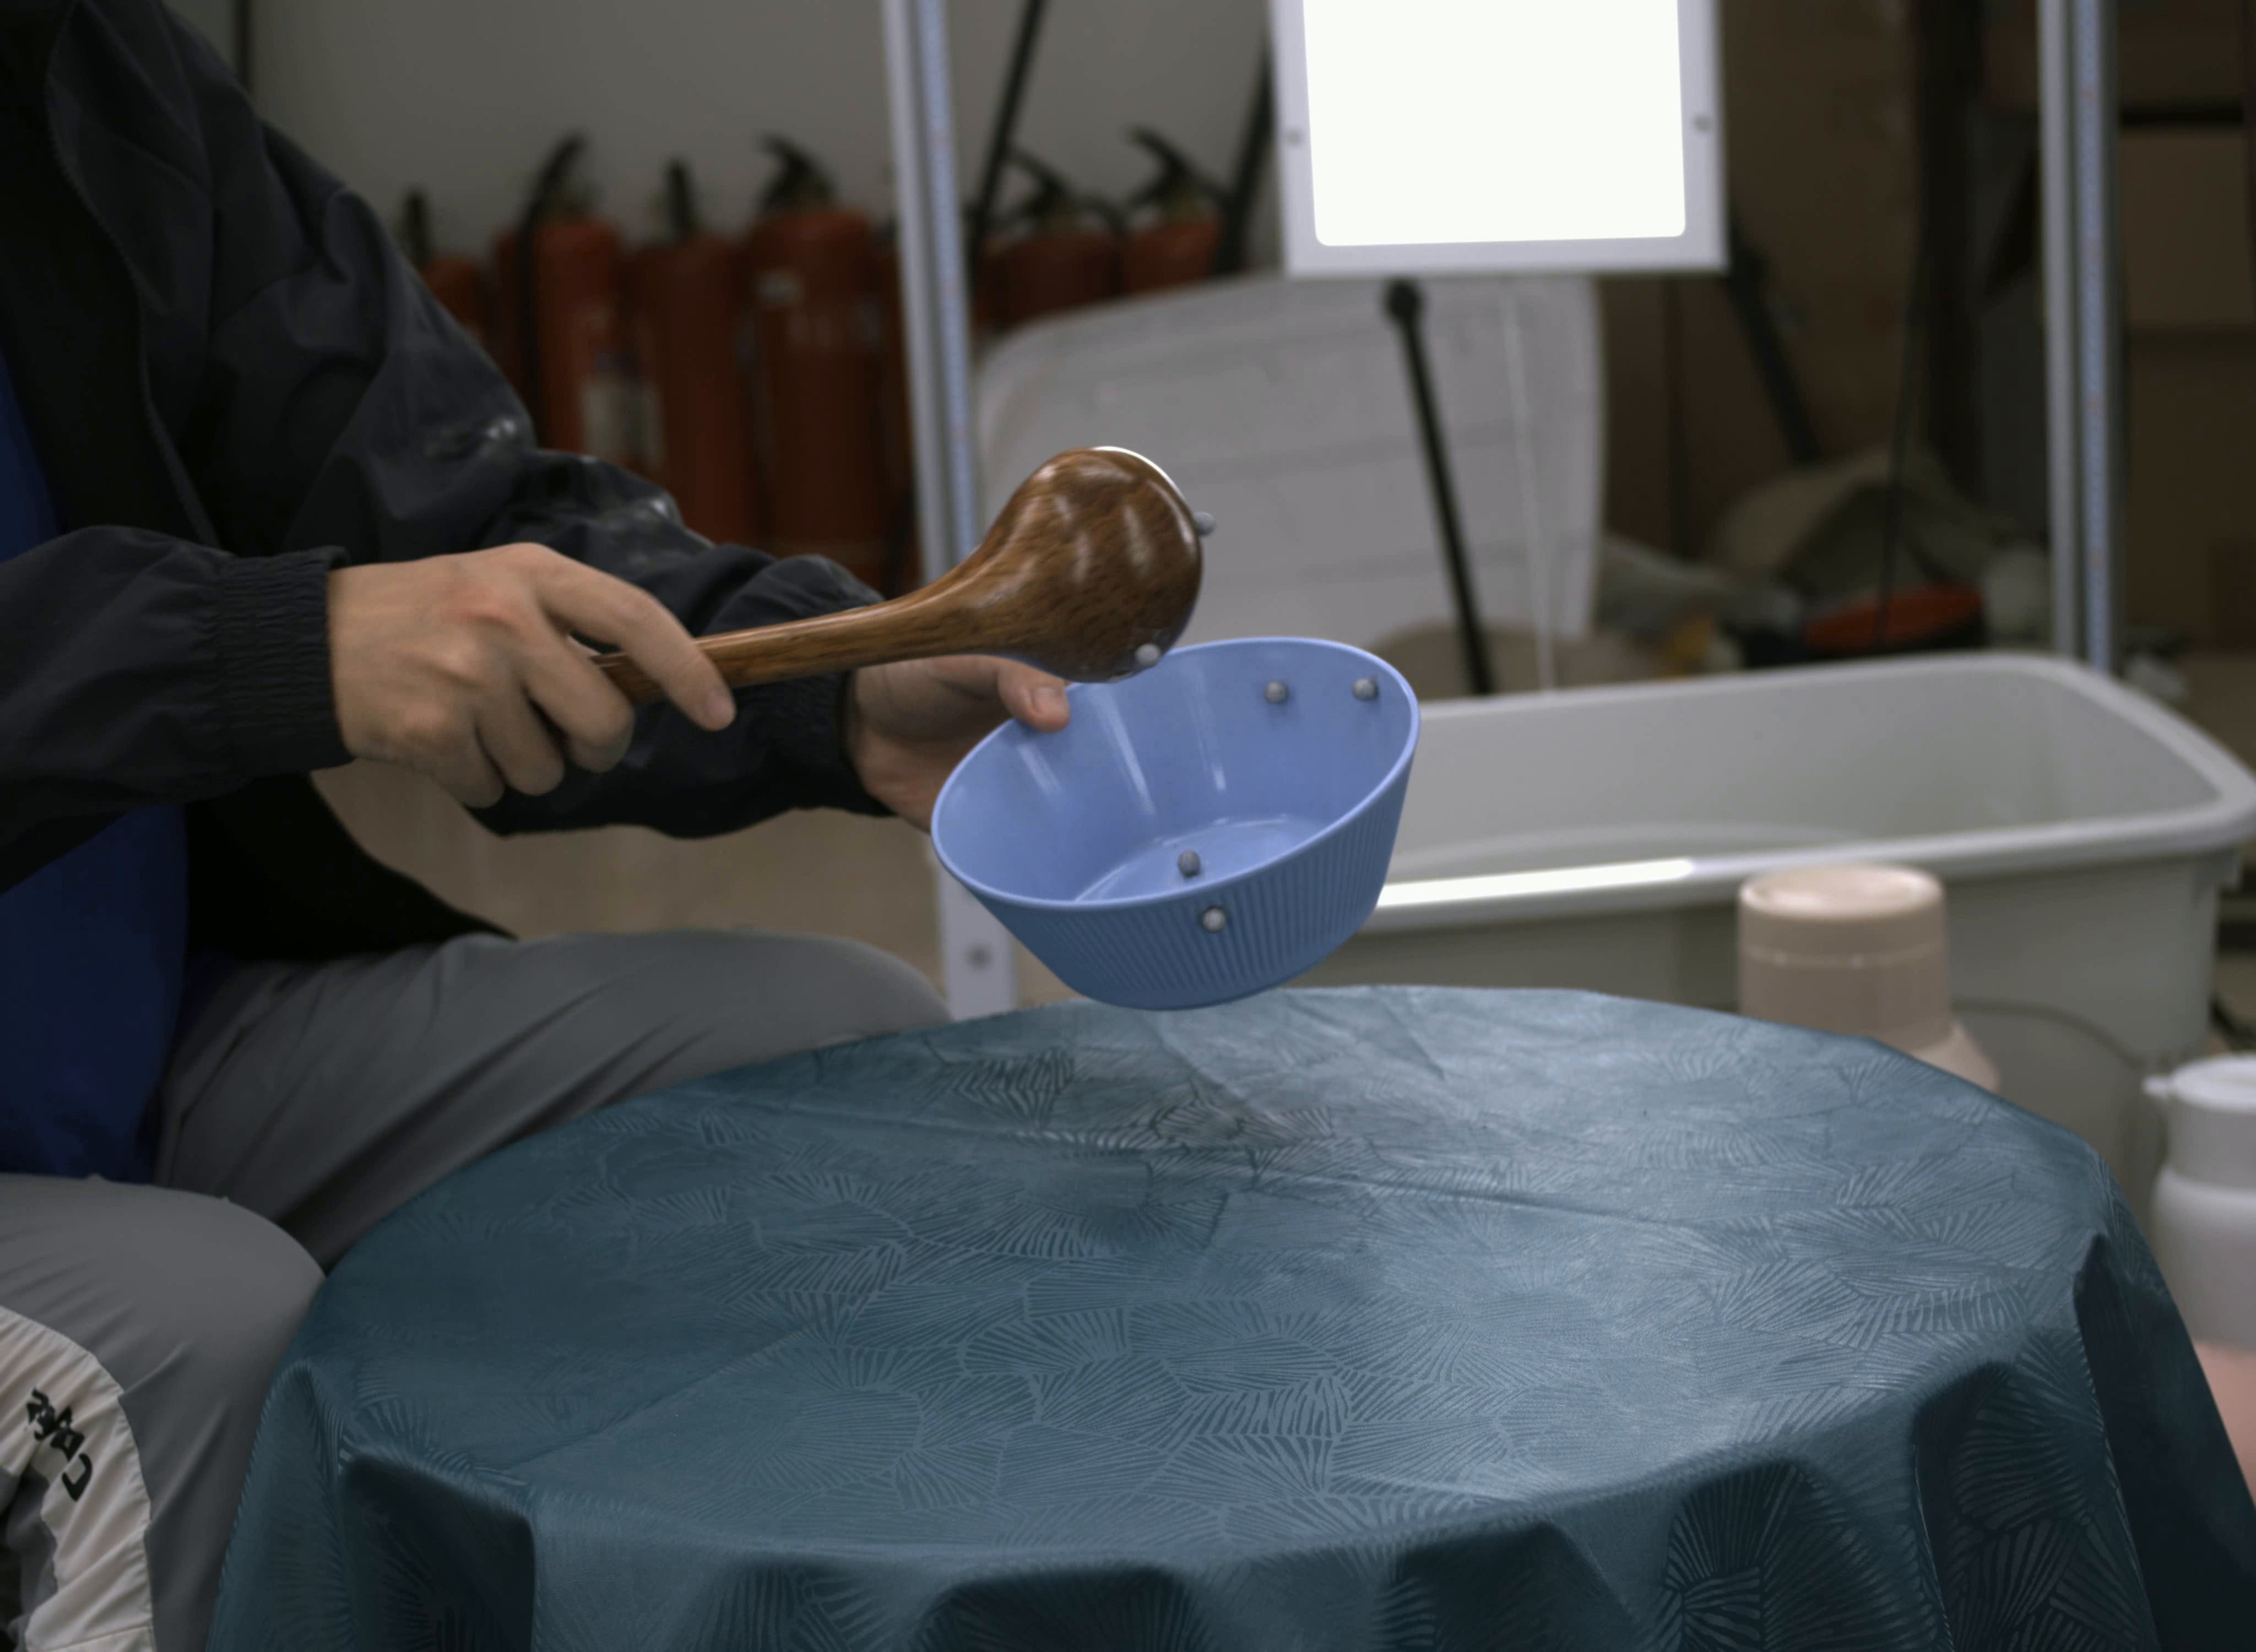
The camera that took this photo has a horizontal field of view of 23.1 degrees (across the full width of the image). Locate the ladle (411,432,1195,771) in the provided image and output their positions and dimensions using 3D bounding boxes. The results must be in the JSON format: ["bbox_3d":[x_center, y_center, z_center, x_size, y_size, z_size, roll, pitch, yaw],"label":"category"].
[{"bbox_3d":[-0.110,-0.070,1.876,0.278,0.082,0.075,-12,13,21],"label":"ladle"}]

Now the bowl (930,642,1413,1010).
[{"bbox_3d":[0.023,0.007,1.925,0.177,0.070,0.175,-16,28,7],"label":"bowl"}]
